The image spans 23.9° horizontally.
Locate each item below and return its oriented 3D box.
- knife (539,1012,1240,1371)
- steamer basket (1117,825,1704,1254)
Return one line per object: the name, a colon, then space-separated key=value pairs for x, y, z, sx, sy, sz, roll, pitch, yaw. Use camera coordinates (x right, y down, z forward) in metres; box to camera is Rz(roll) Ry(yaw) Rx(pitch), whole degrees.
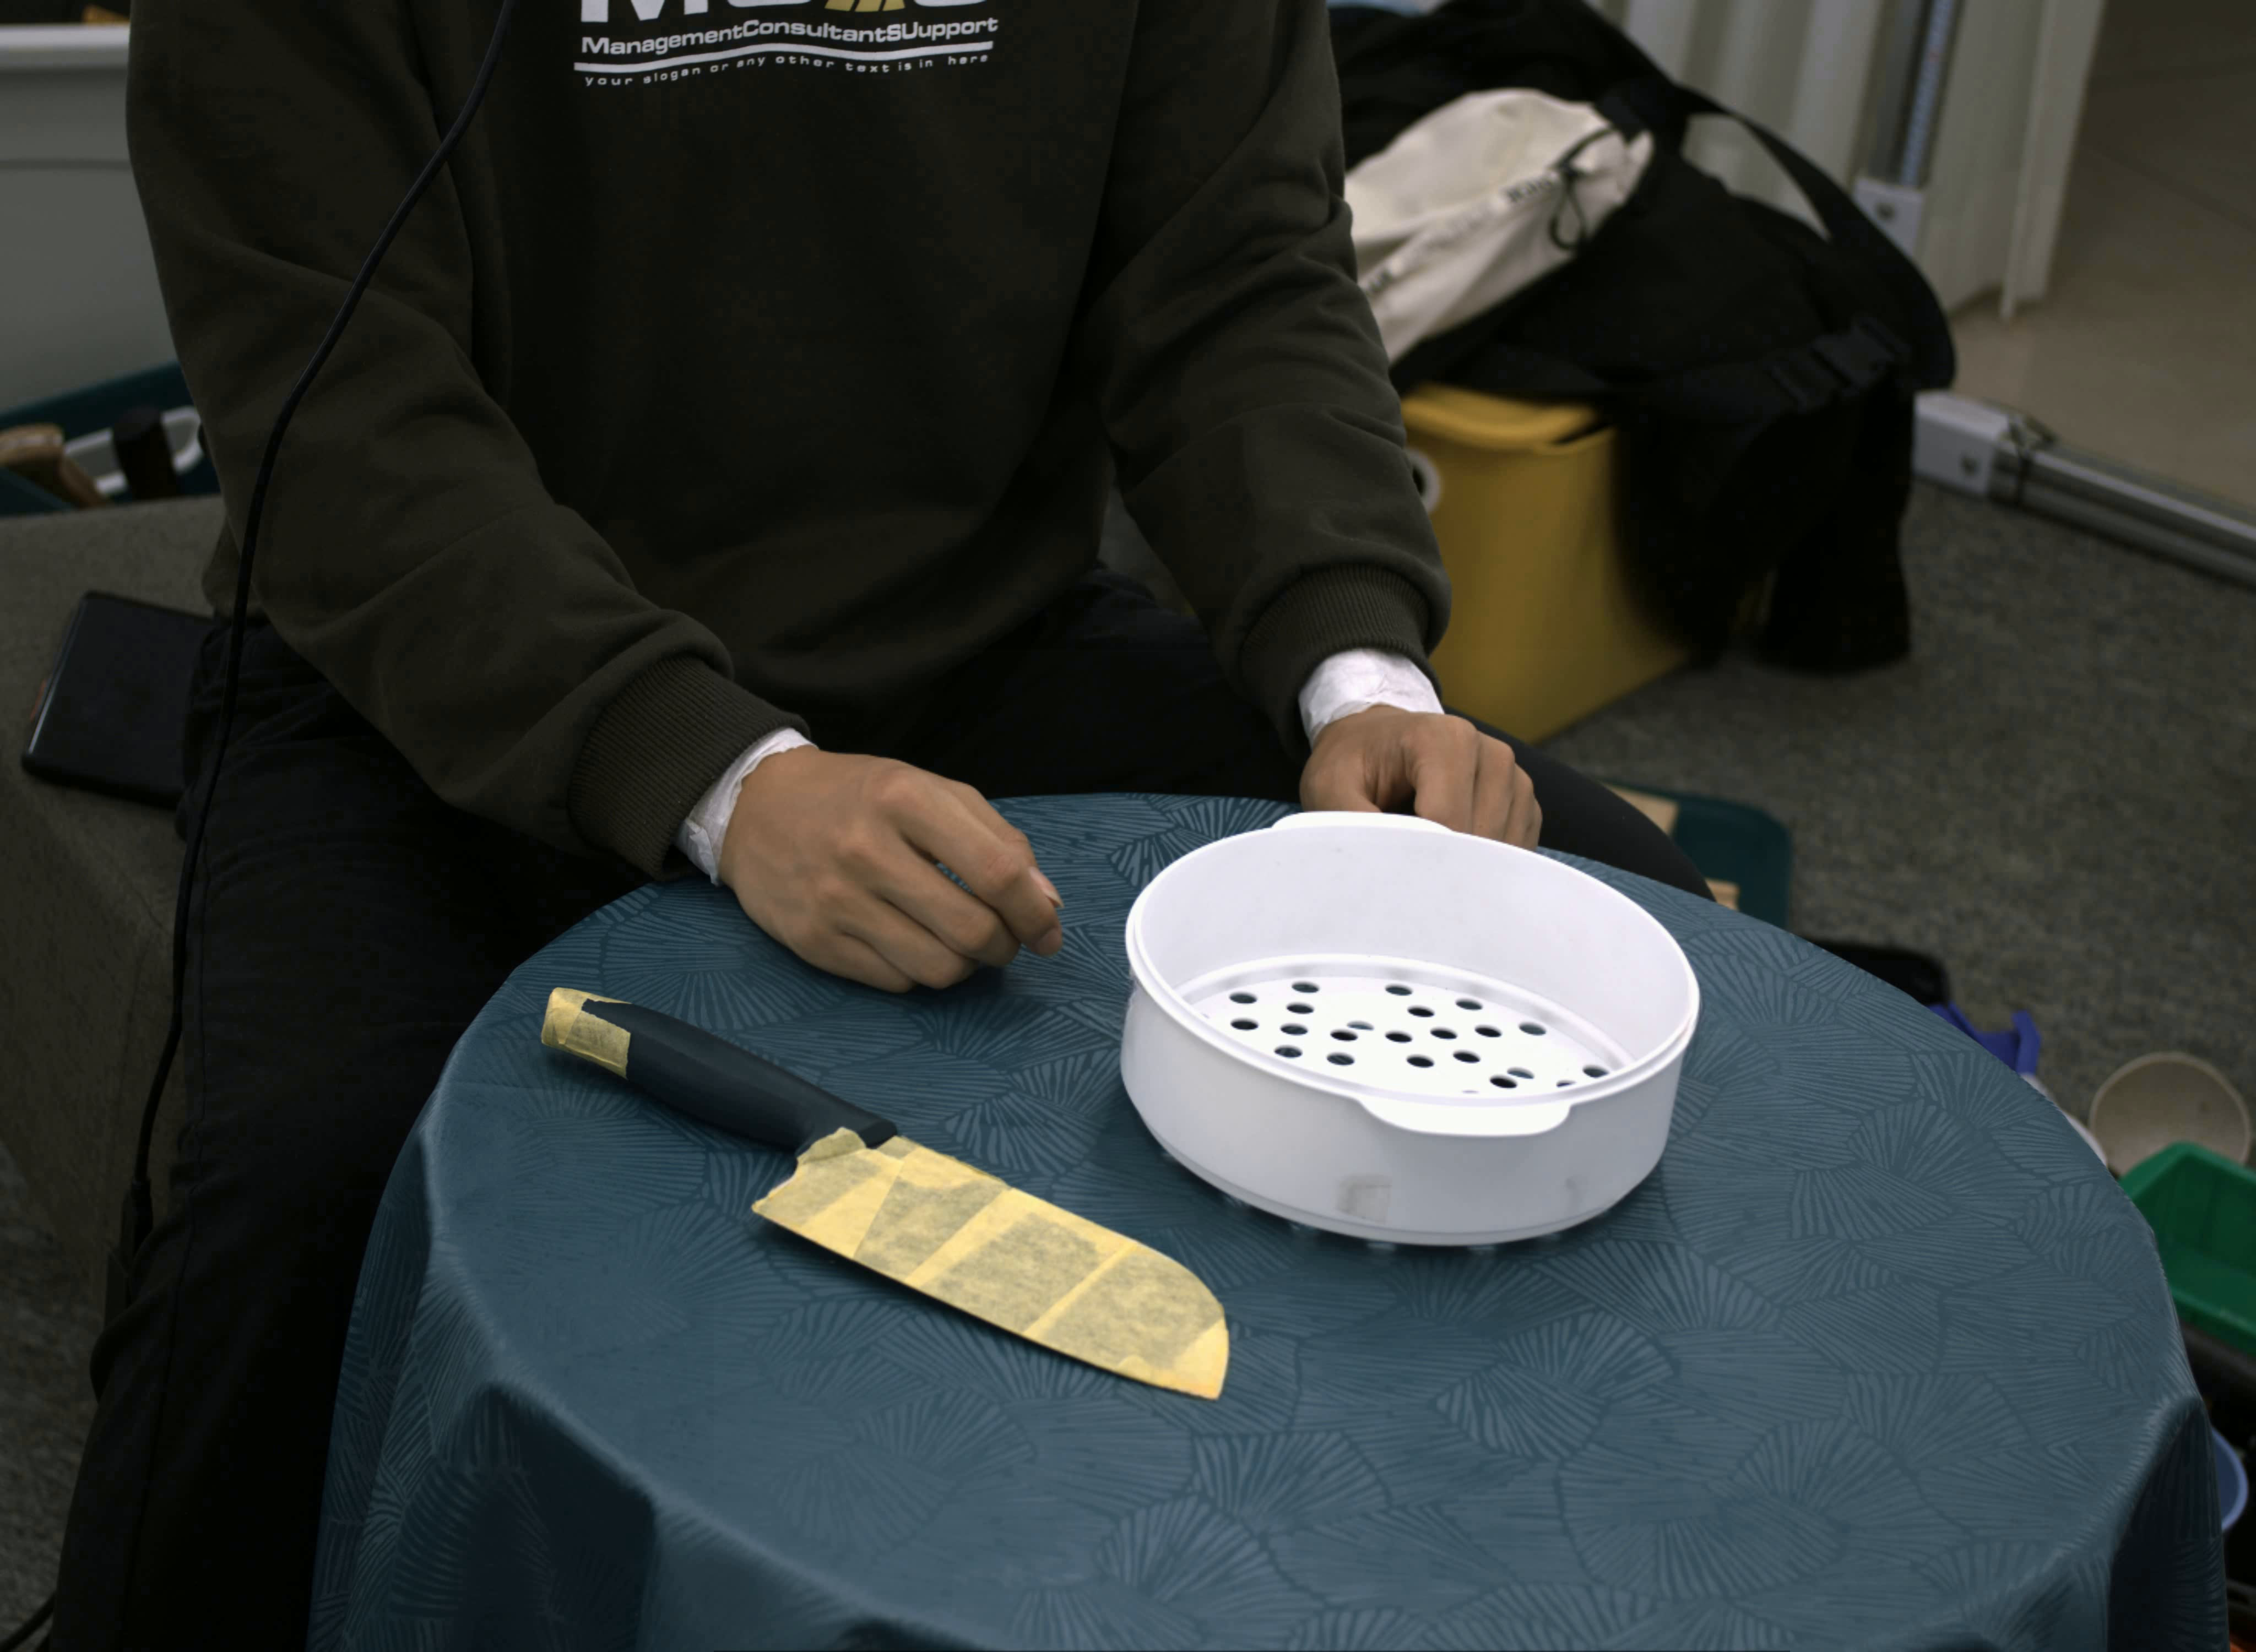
knife: x=-0.086 y=0.123 z=1.771 sx=0.291 sy=0.027 sz=0.081 roll=22 pitch=29 yaw=26
steamer basket: x=0.096 y=0.075 z=1.849 sx=0.201 sy=0.069 sz=0.232 roll=3 pitch=26 yaw=-9
